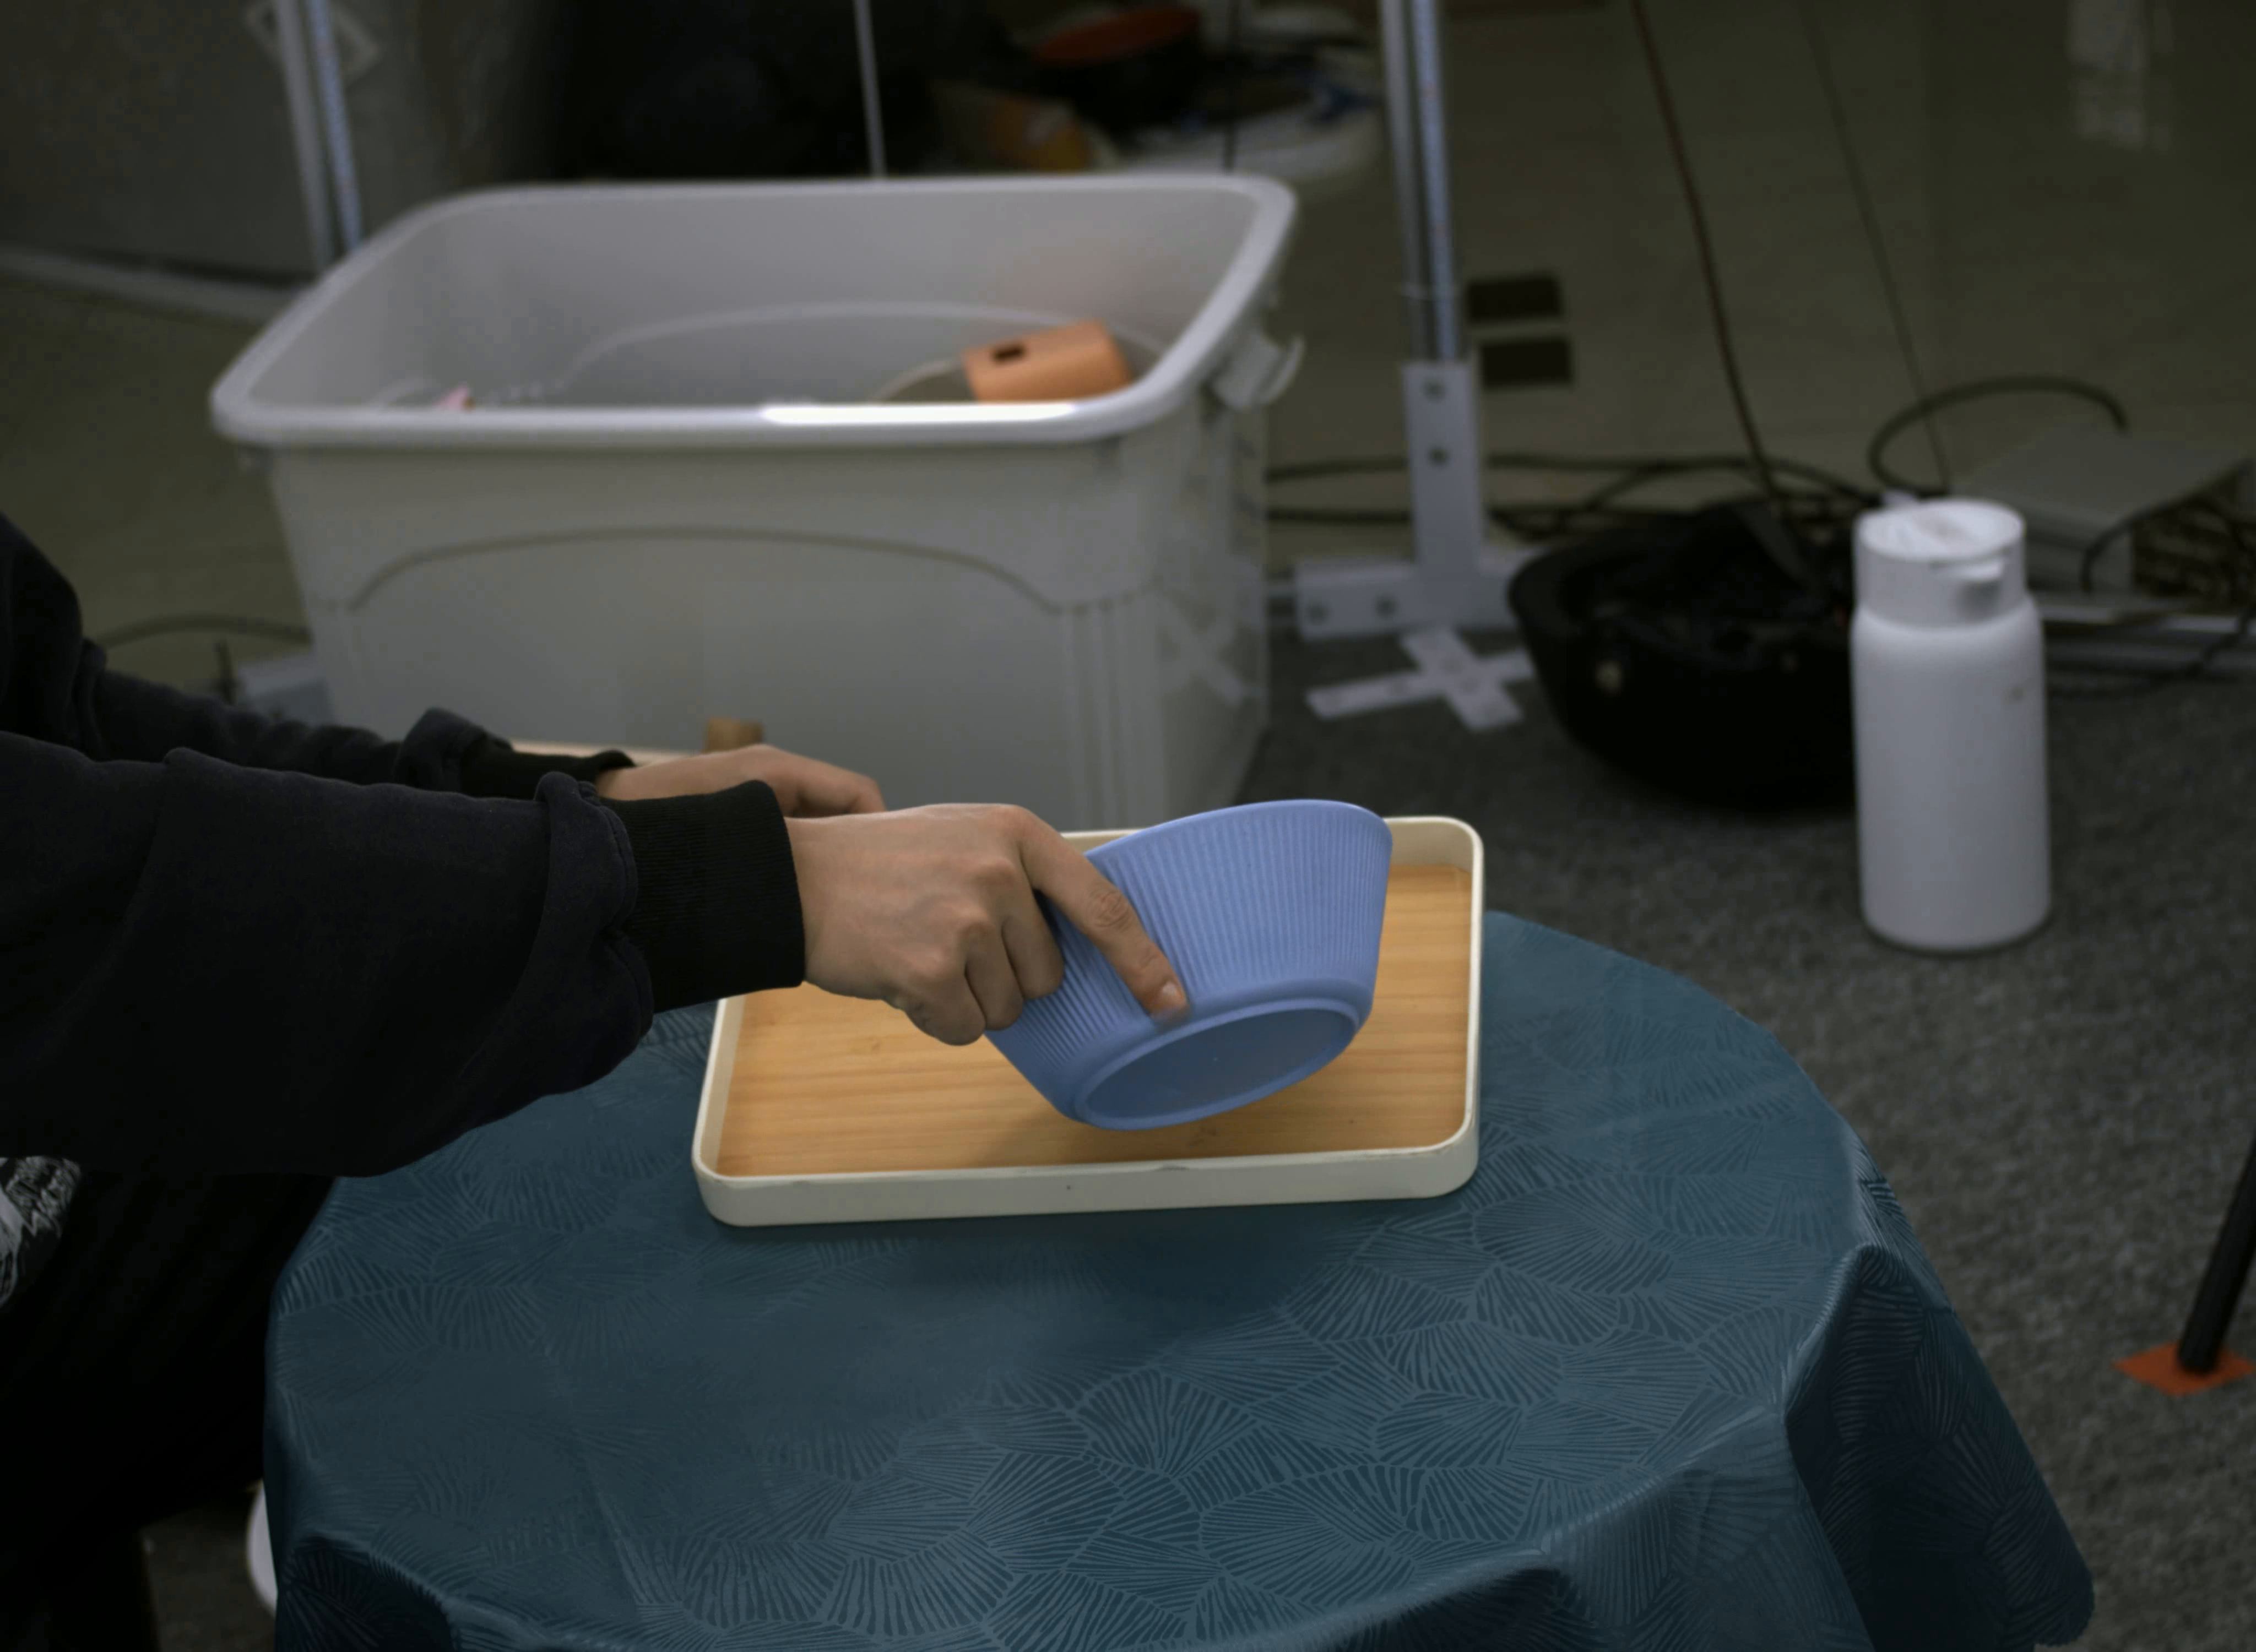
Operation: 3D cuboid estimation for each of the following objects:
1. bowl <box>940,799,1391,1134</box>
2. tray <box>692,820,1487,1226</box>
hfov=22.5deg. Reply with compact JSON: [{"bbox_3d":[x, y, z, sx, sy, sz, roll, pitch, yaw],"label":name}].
[{"bbox_3d":[0.023,0.059,2.085,0.175,0.178,0.069,-12,69,-14],"label":"bowl"},{"bbox_3d":[-0.012,0.075,2.200,0.300,0.028,0.188,-2,42,8],"label":"tray"}]
